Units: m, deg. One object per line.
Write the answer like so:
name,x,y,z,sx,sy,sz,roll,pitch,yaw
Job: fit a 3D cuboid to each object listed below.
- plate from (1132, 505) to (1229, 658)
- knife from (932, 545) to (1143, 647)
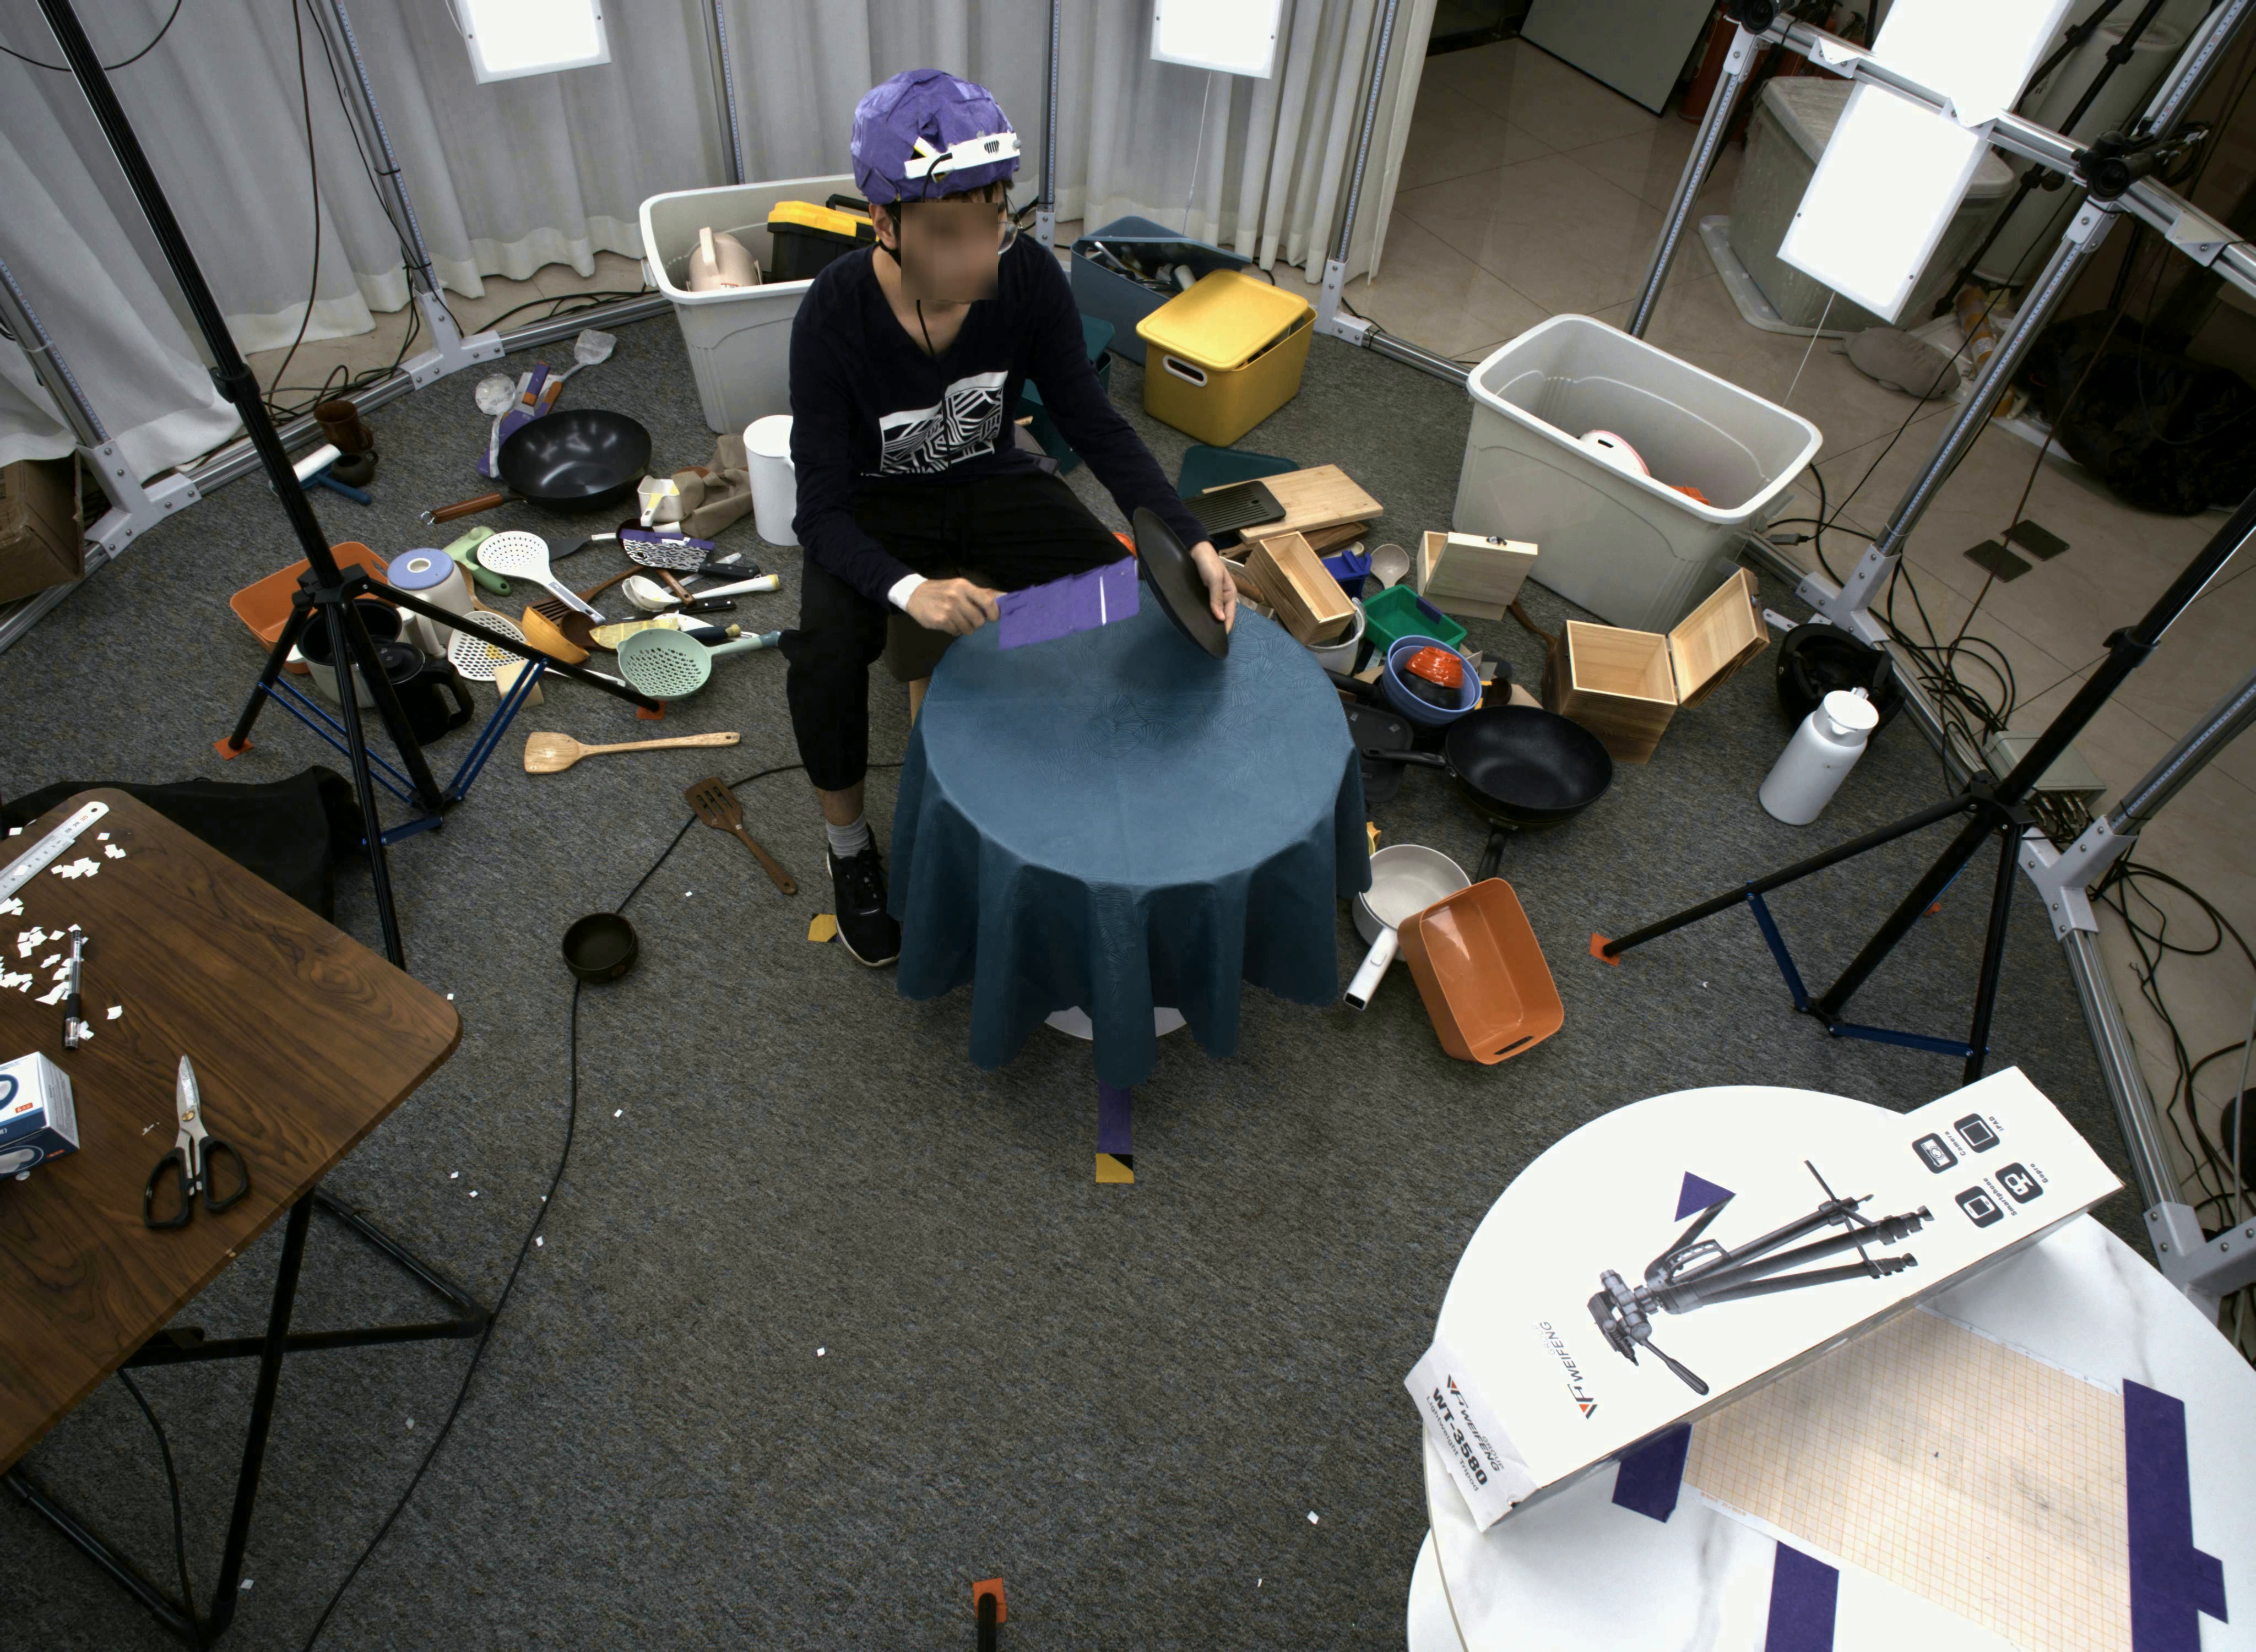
plate,0.070,-0.342,1.818,0.023,0.239,0.250,-29,46,22
knife,-0.126,-0.294,1.737,0.315,0.031,0.106,-14,60,22
